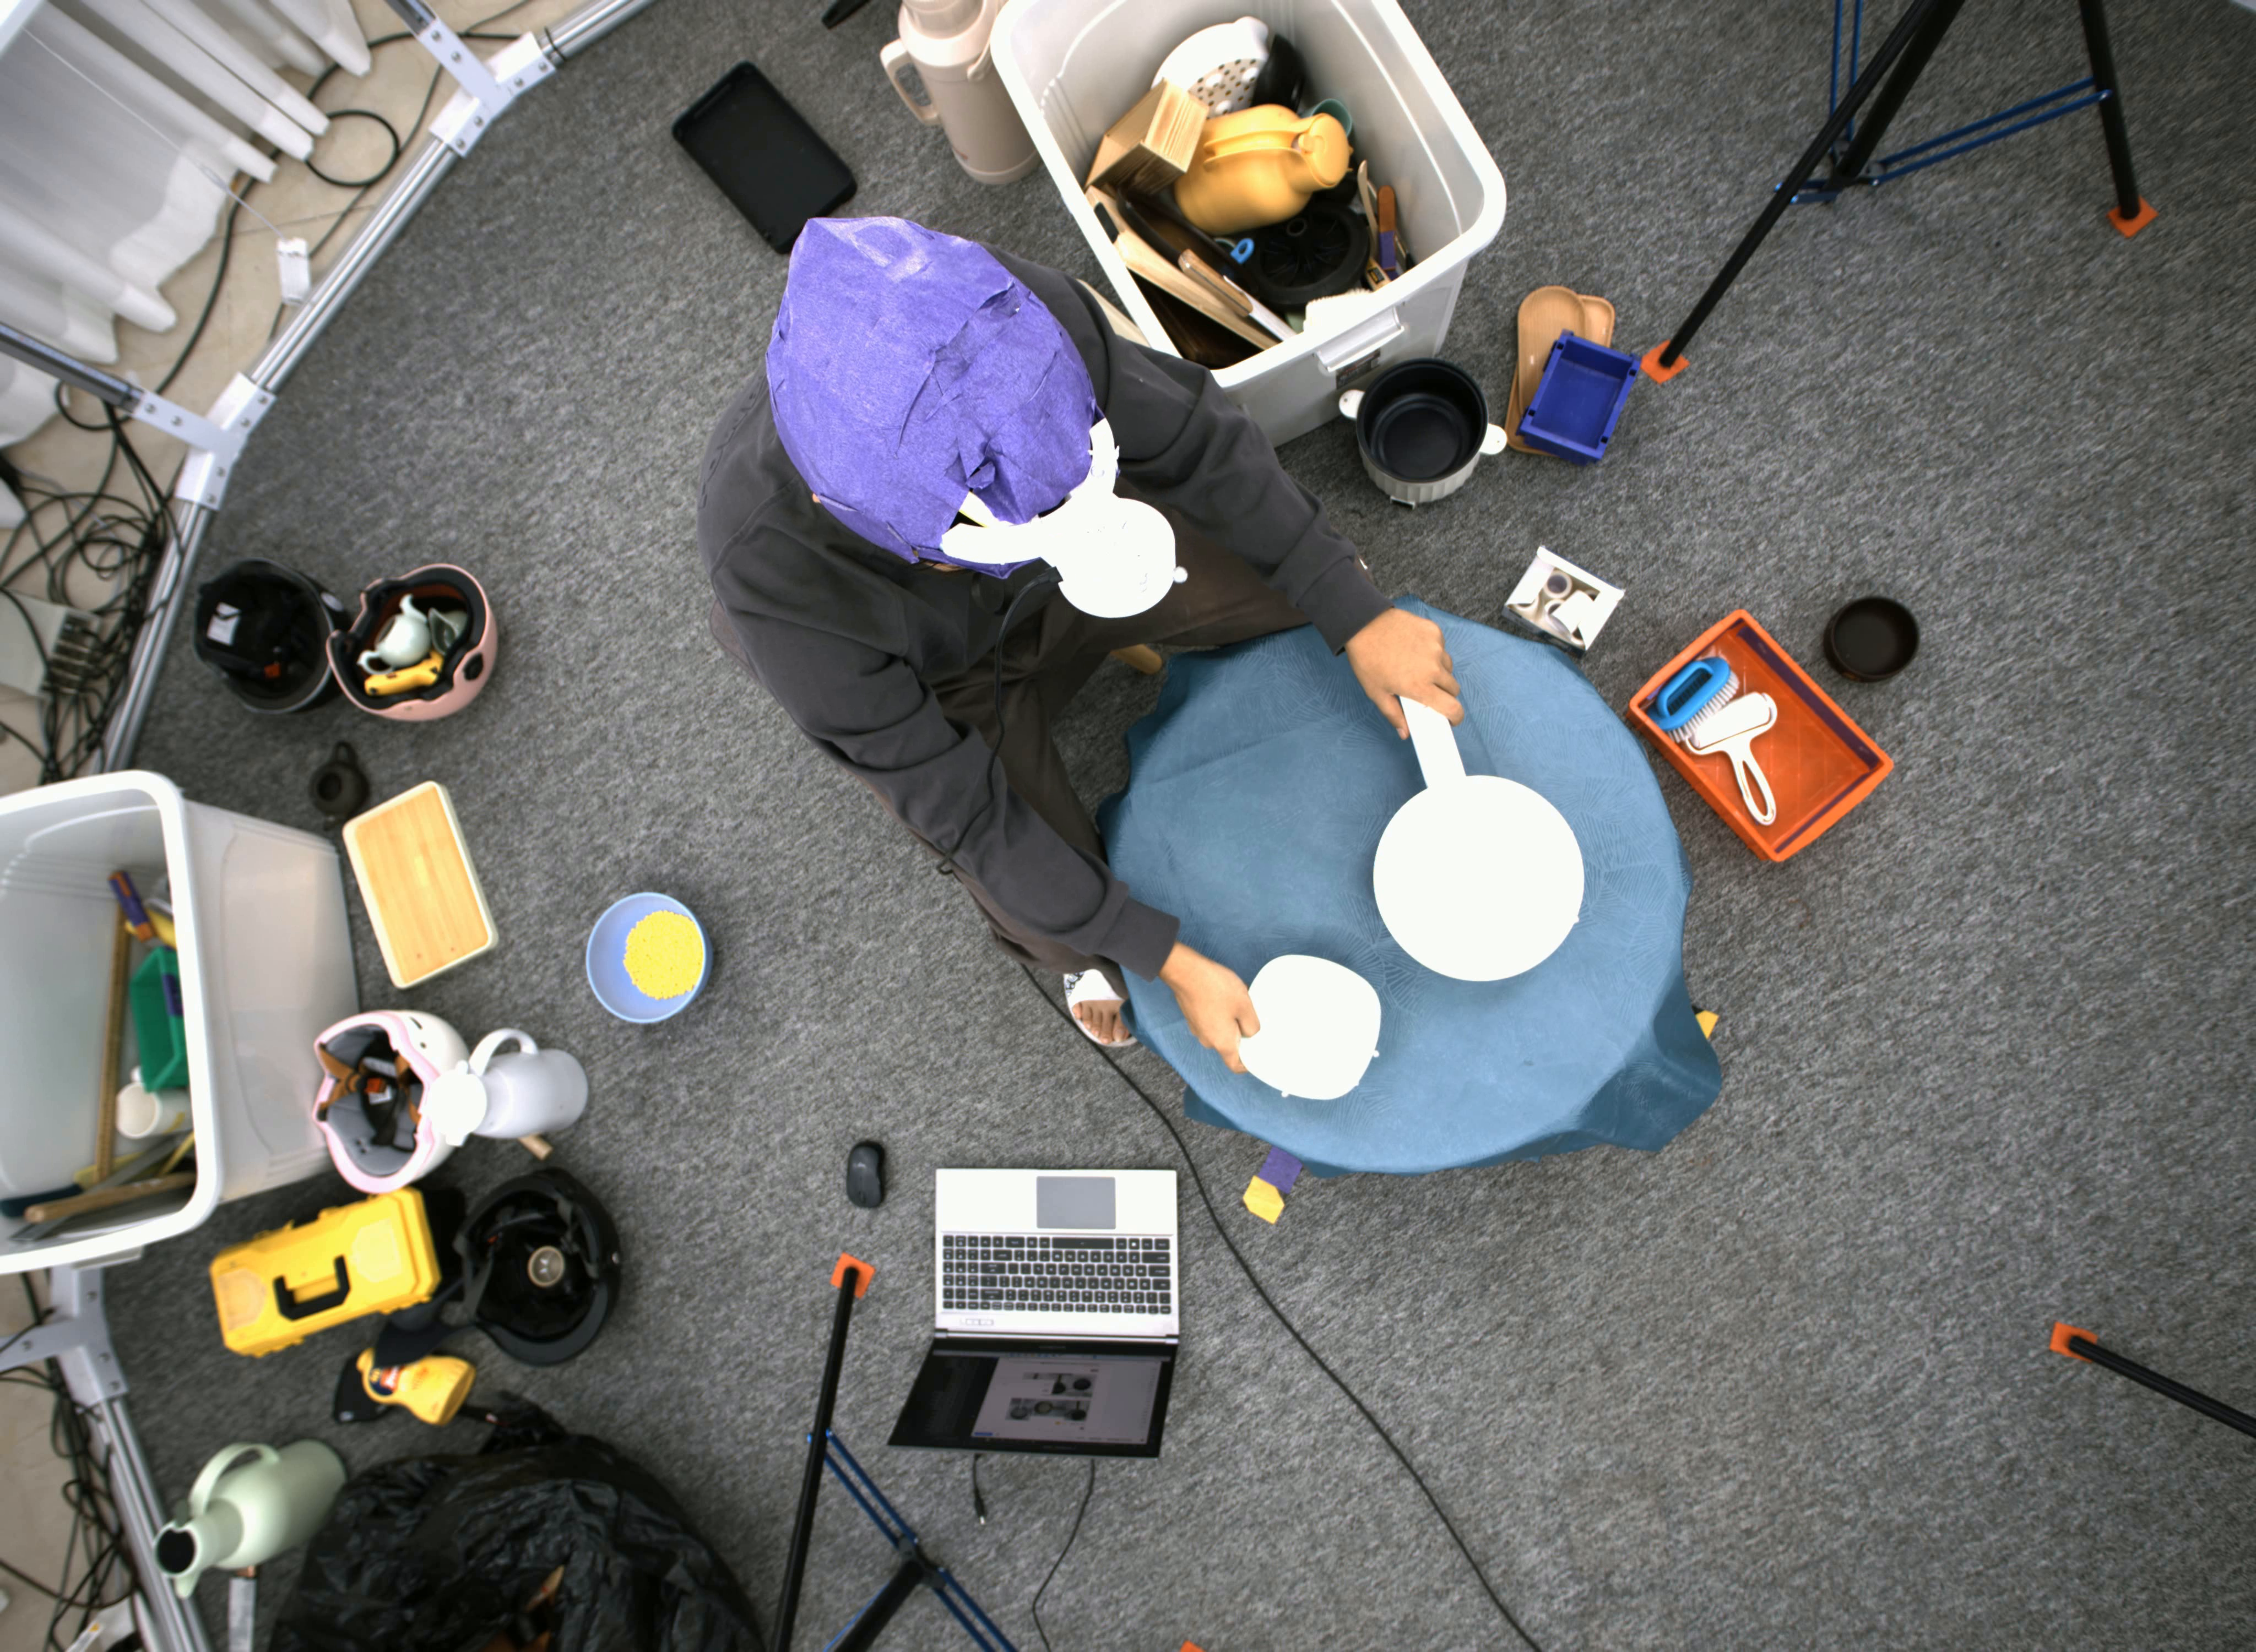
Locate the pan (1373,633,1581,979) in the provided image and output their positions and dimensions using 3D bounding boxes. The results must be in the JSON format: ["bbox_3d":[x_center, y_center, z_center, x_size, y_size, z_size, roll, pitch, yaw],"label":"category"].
[{"bbox_3d":[0.331,-0.019,1.409,0.202,0.102,0.352,-17,82,11],"label":"pan"}]

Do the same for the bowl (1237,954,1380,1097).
[{"bbox_3d":[0.185,0.203,1.425,0.152,0.059,0.151,-1,86,8],"label":"bowl"}]
